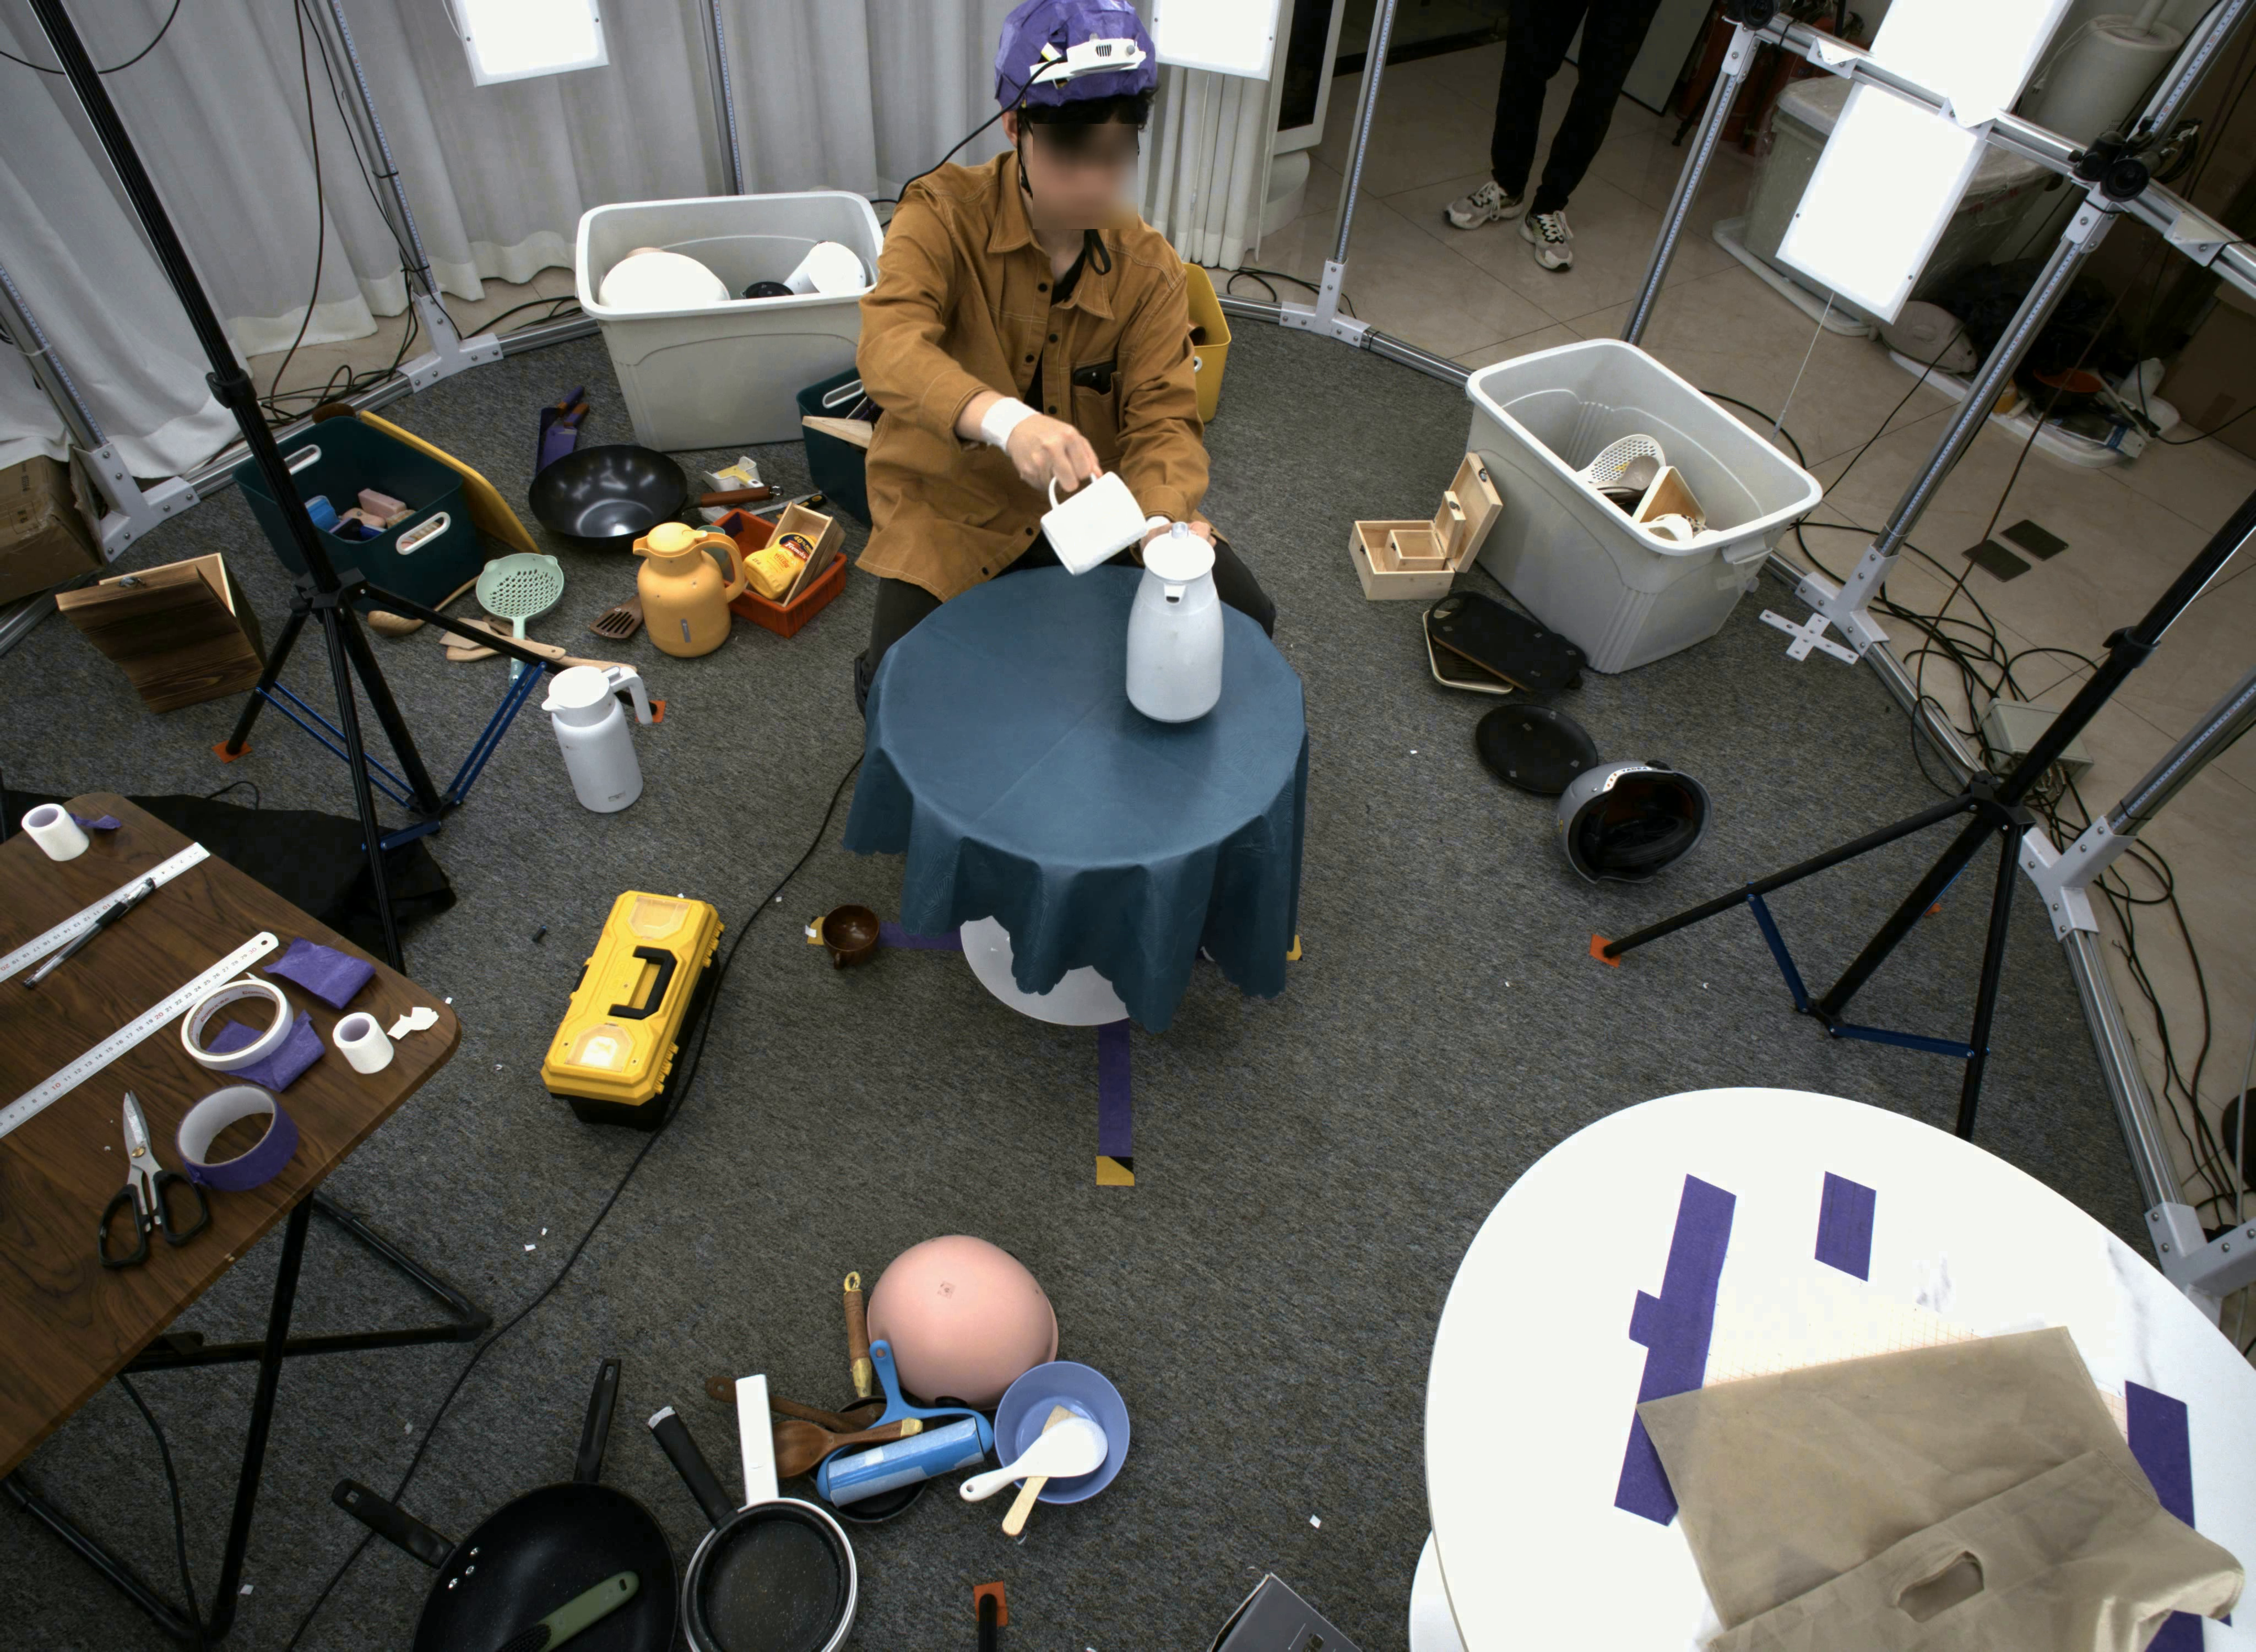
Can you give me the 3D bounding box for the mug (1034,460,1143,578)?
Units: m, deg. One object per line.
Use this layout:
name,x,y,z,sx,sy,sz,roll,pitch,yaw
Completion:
mug,-0.056,-0.367,1.520,0.102,0.085,0.118,-35,94,-2

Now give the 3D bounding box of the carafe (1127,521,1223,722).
carafe,0.064,-0.284,1.715,0.132,0.242,0.172,4,51,5
